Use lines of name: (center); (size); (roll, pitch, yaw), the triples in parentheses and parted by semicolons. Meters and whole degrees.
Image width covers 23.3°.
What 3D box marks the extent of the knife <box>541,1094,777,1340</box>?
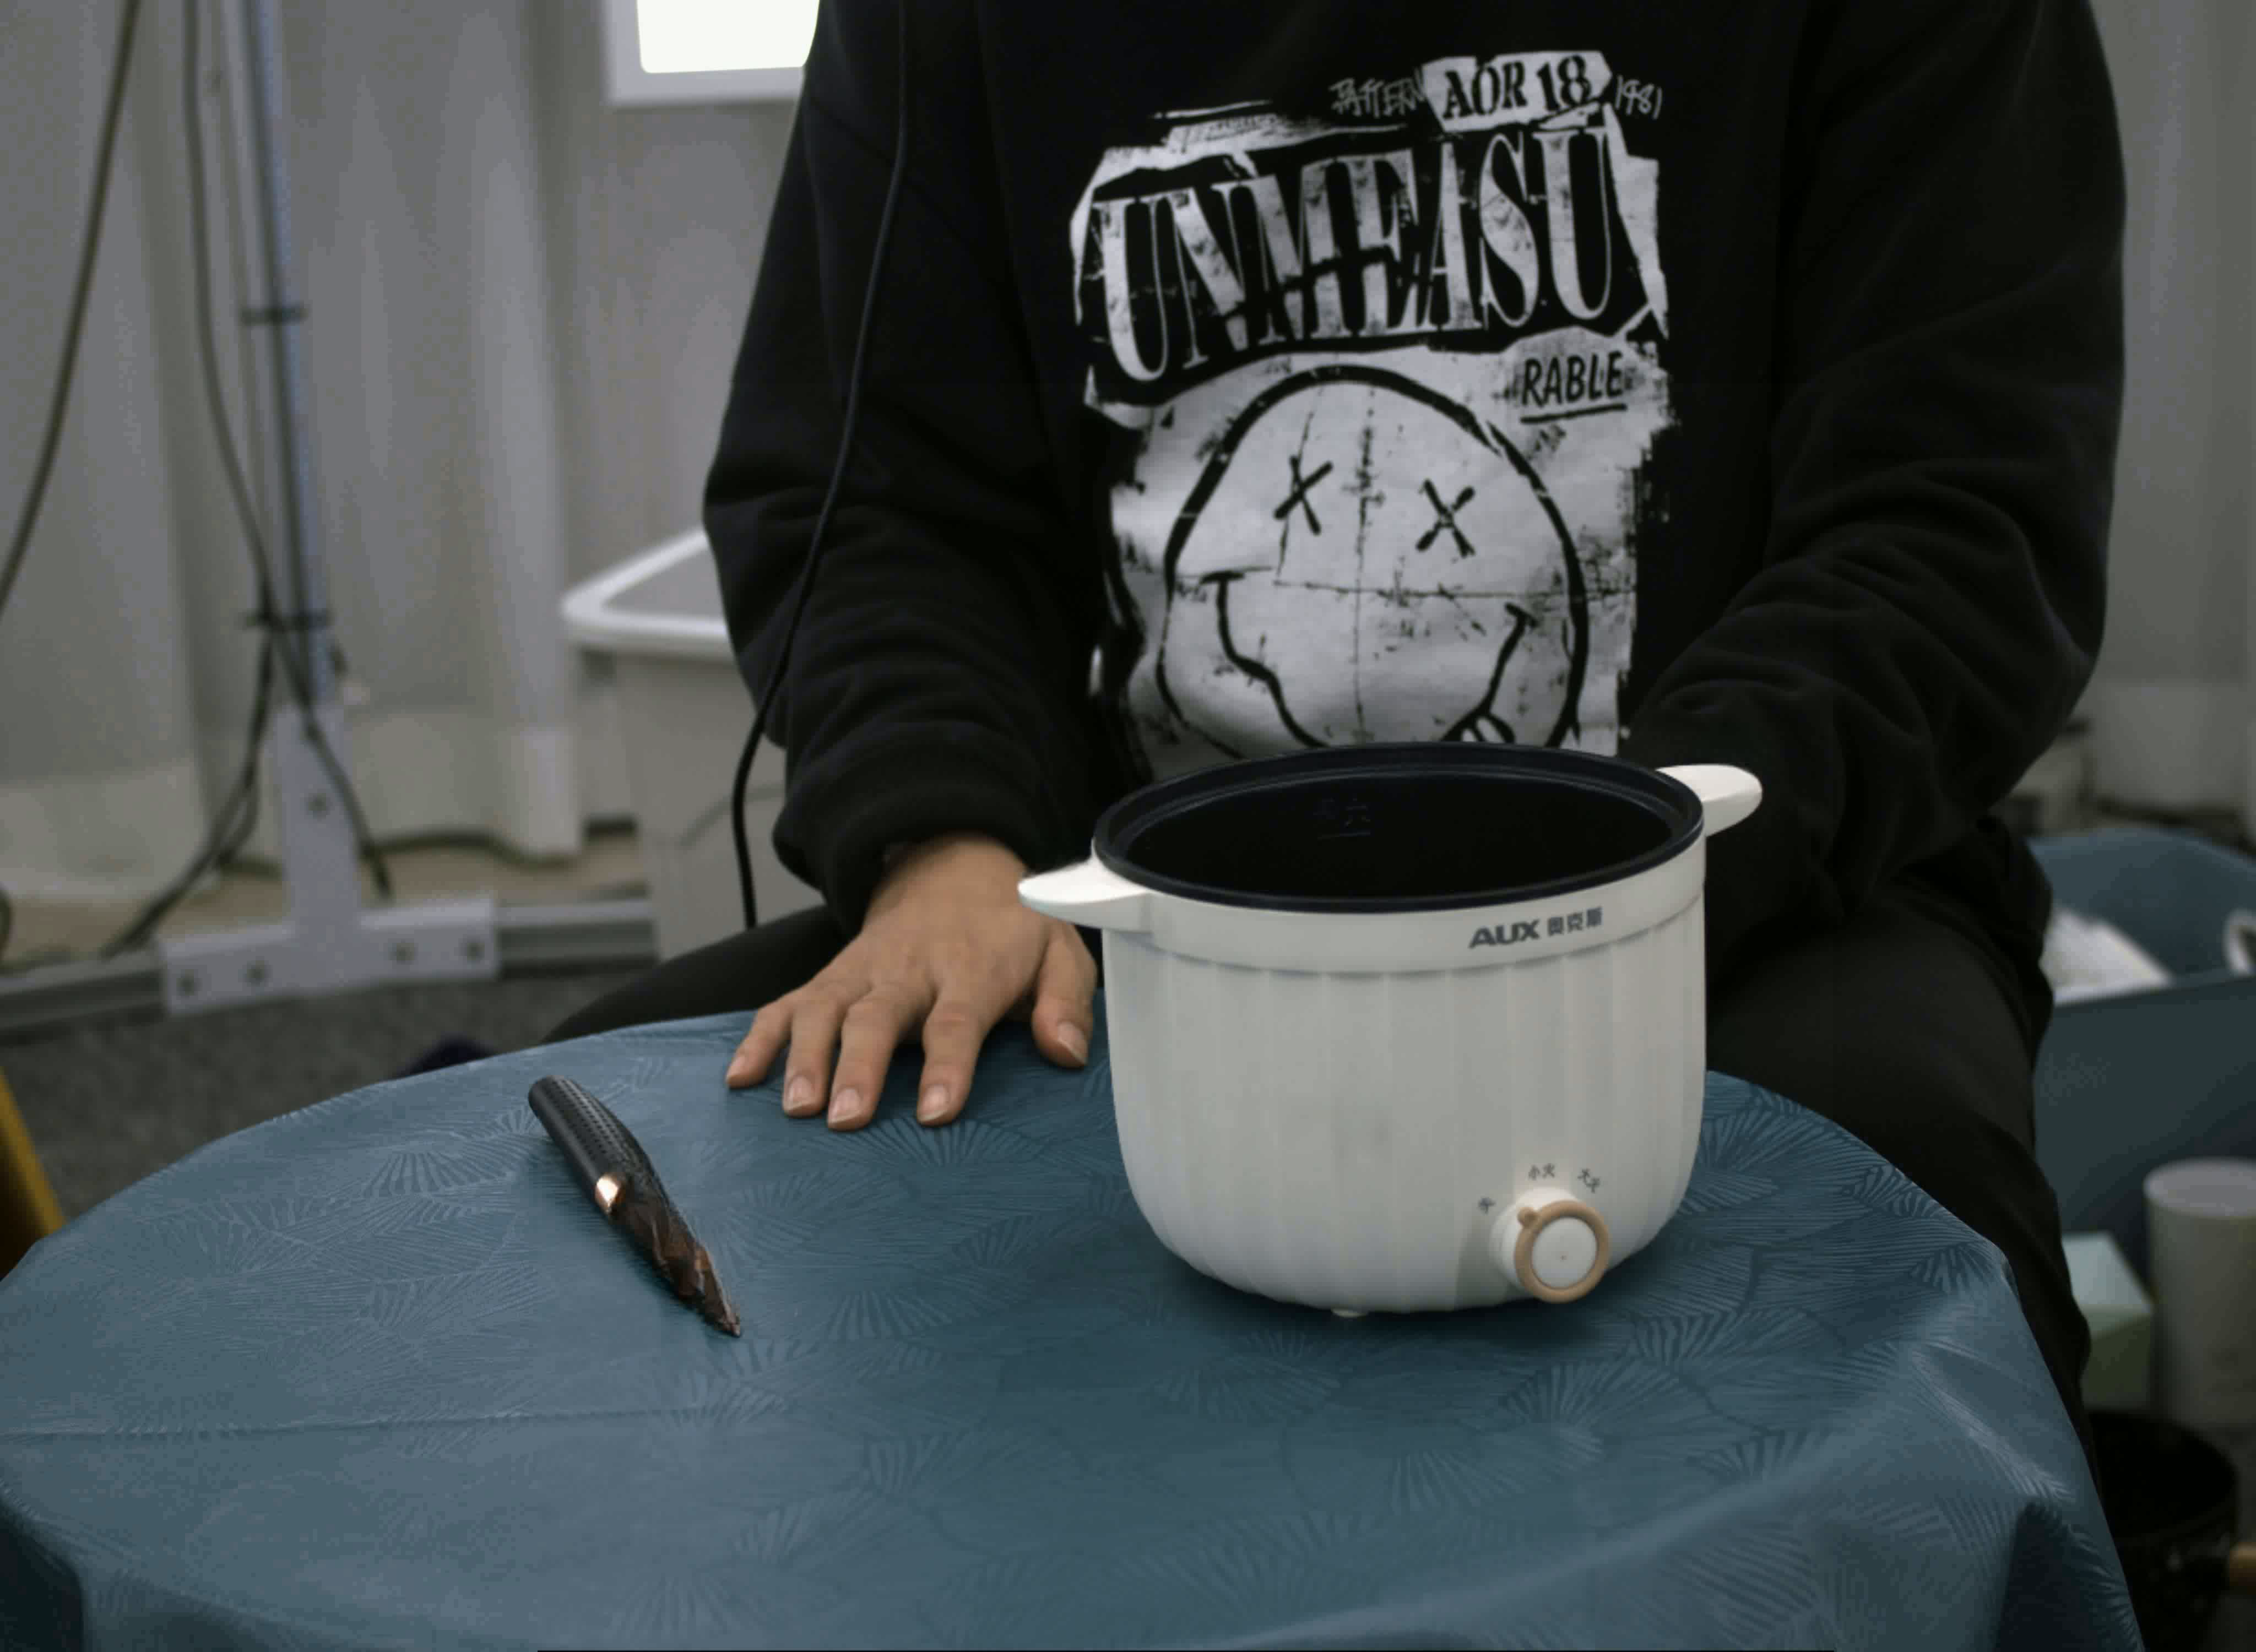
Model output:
knife: (-0.148, 0.121, 1.702); (0.026, 0.017, 0.227); (7, 12, -22)

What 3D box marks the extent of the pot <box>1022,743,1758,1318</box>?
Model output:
pot: (0.087, 0.063, 1.627); (0.239, 0.142, 0.192); (-10, 13, -22)
